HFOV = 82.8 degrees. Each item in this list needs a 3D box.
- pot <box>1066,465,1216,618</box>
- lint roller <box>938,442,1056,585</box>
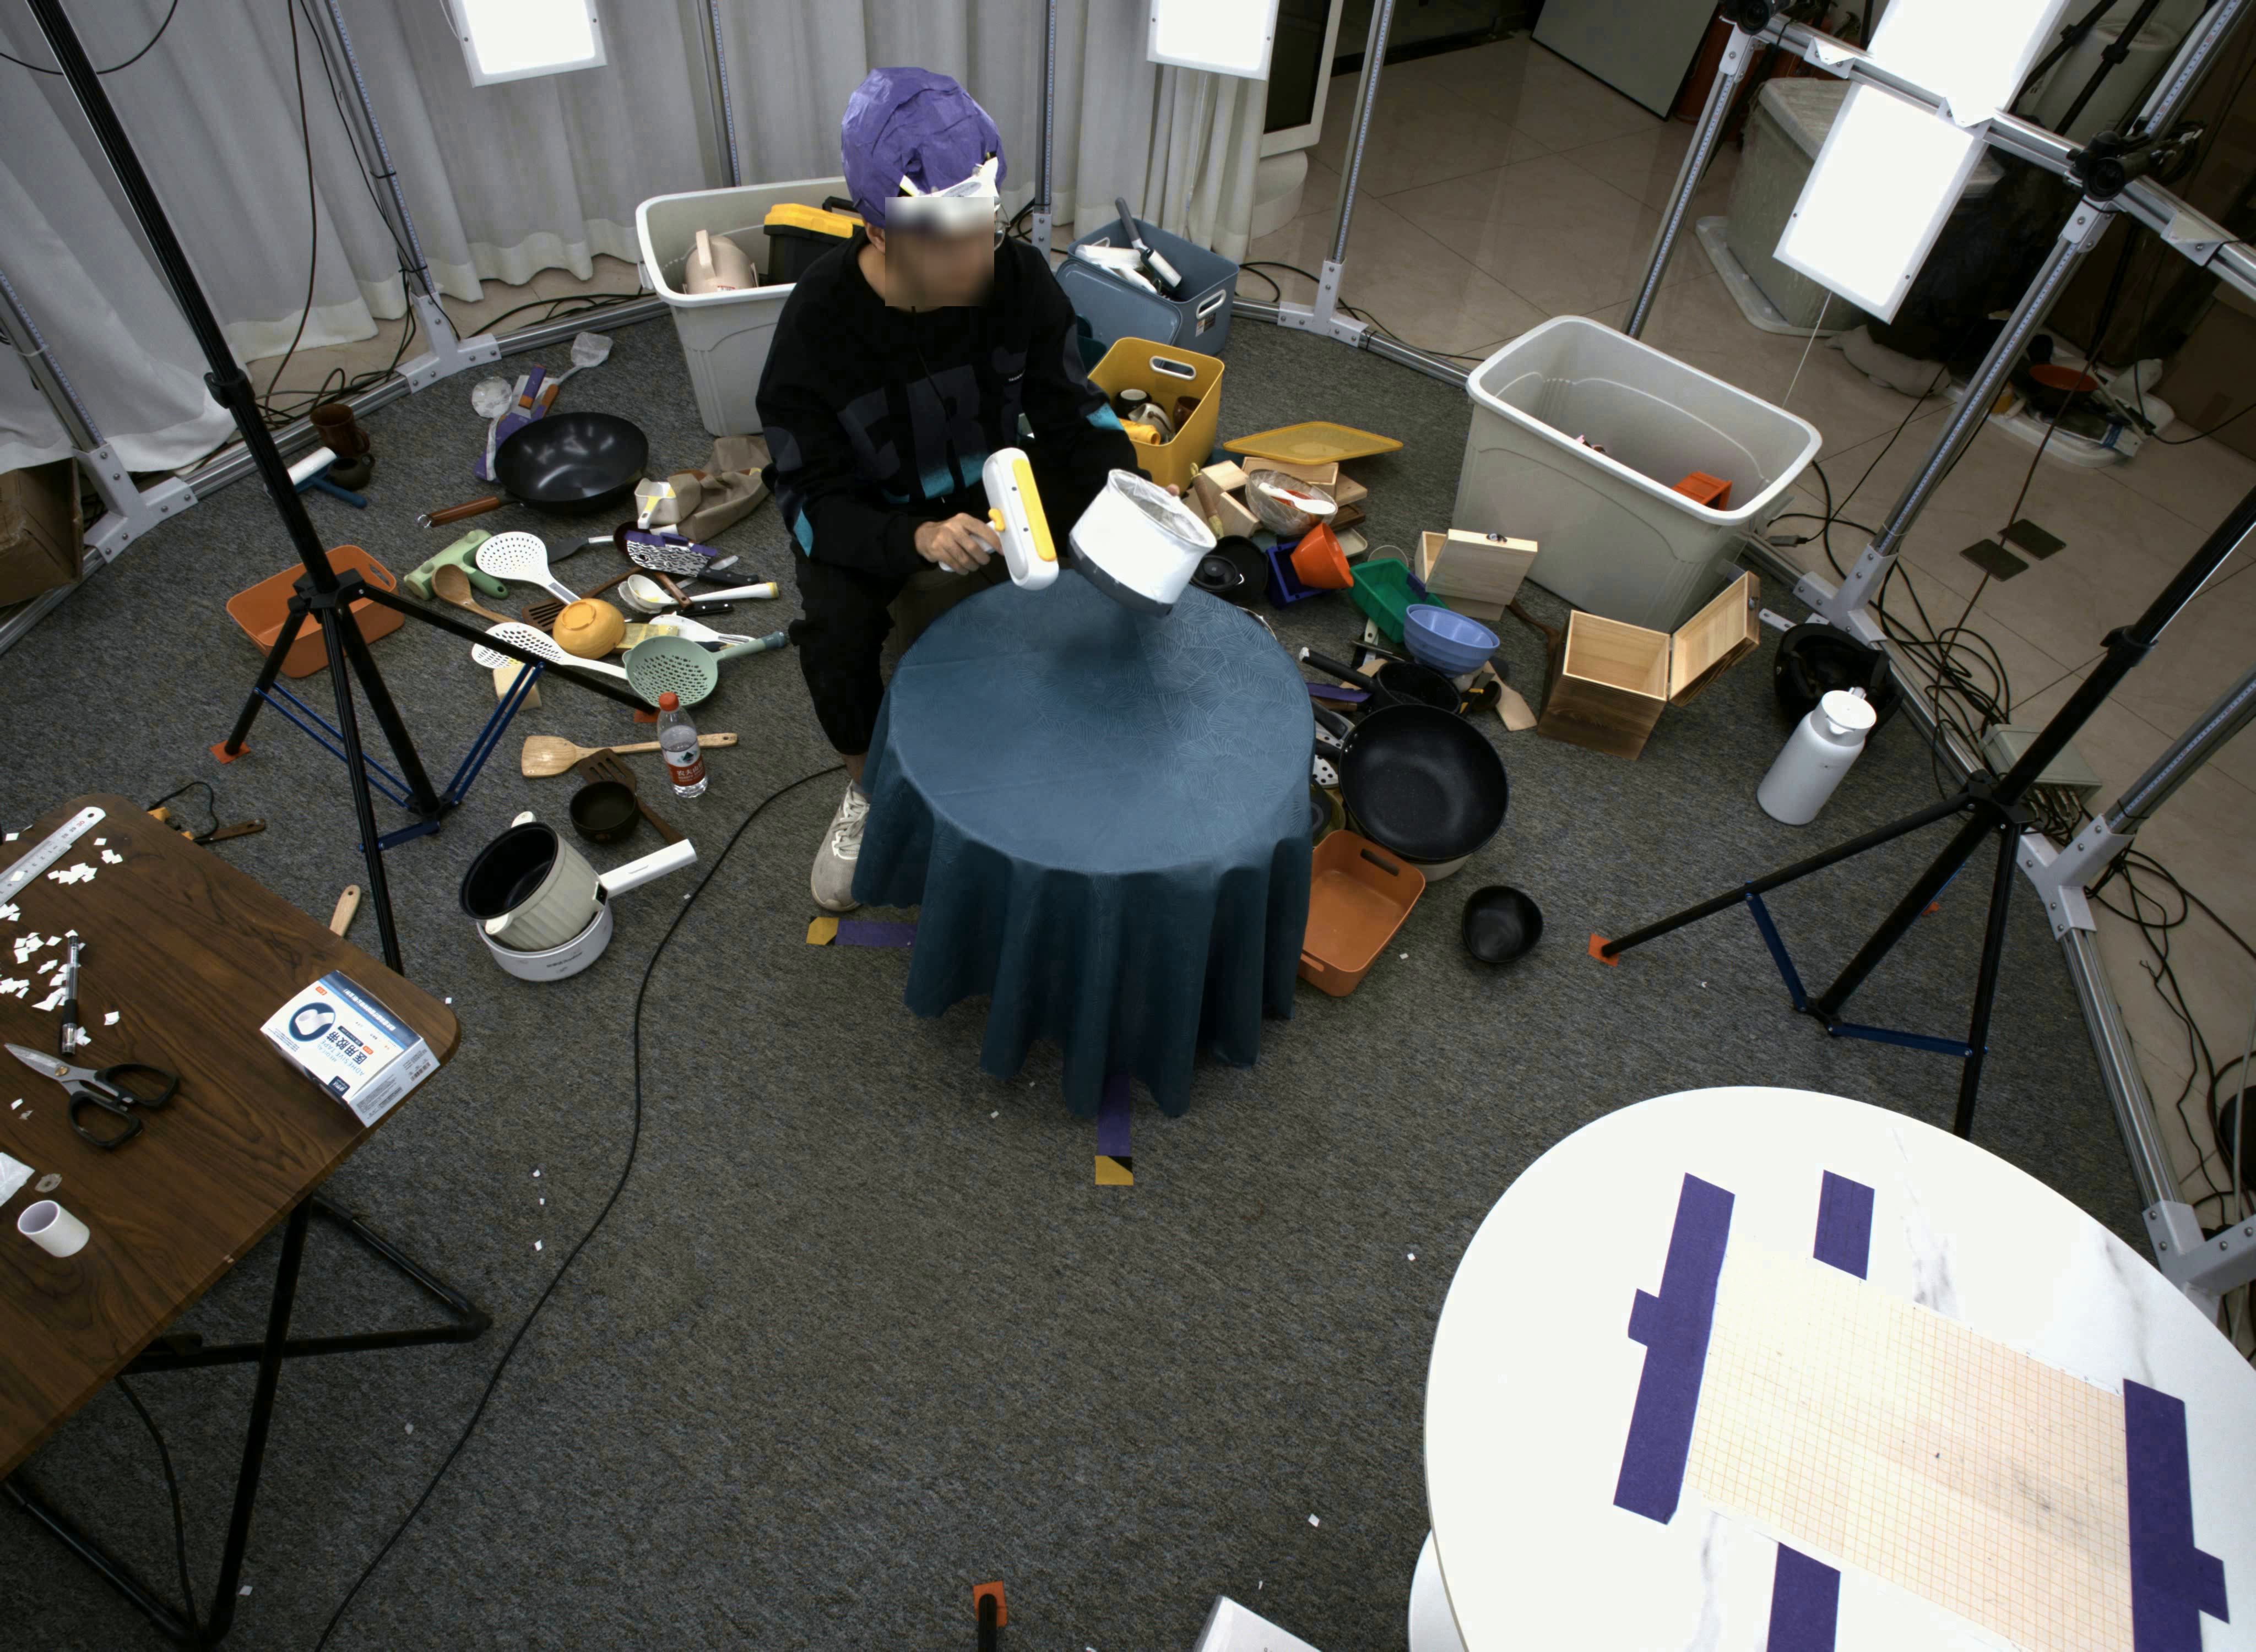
[{"bbox_3d":[0.019,-0.404,1.812,0.178,0.135,0.237,37,26,-3],"label":"pot"},{"bbox_3d":[-0.188,-0.396,1.755,0.074,0.191,0.194,-18,84,-41],"label":"lint roller"}]
